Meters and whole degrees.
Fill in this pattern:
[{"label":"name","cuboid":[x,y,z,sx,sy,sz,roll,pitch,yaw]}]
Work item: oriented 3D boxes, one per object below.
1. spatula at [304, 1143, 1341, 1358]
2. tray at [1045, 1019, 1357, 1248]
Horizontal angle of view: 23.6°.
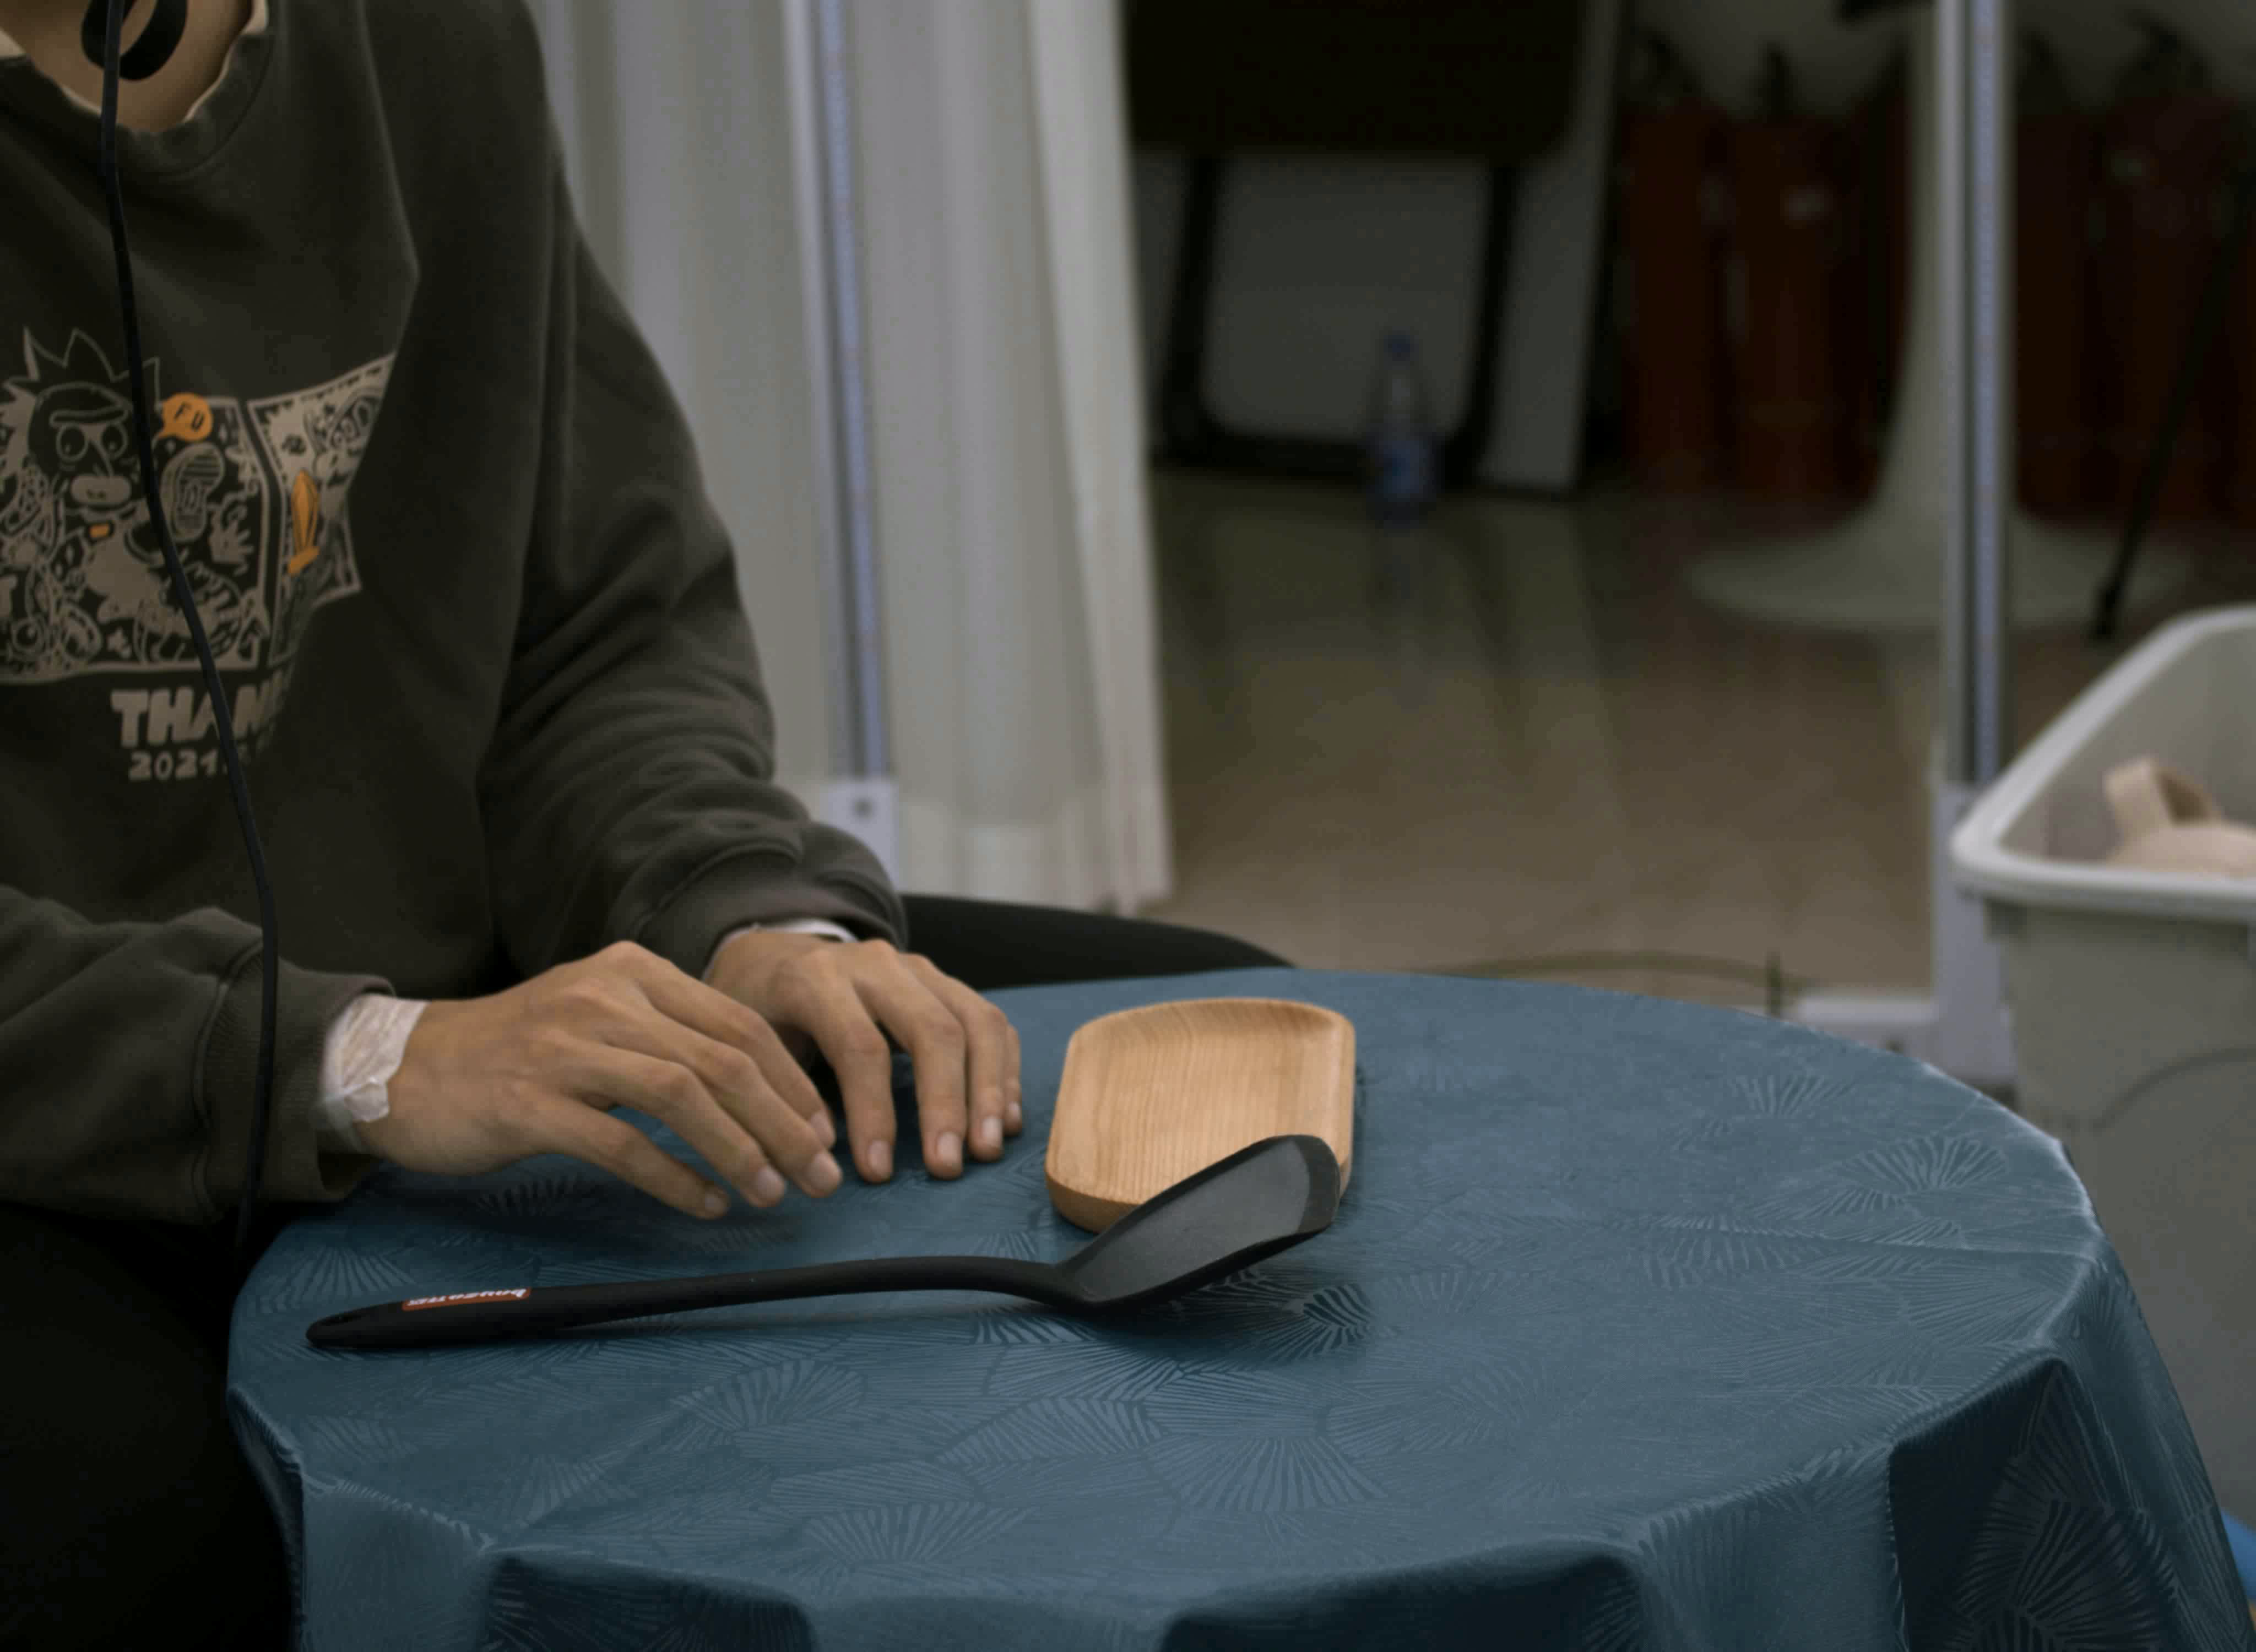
[{"label":"spatula","cuboid":[-0.094,0.137,1.664,0.322,0.041,0.100,-3,12,2]},{"label":"tray","cuboid":[0.027,0.102,1.817,0.100,0.020,0.231,-4,14,4]}]
